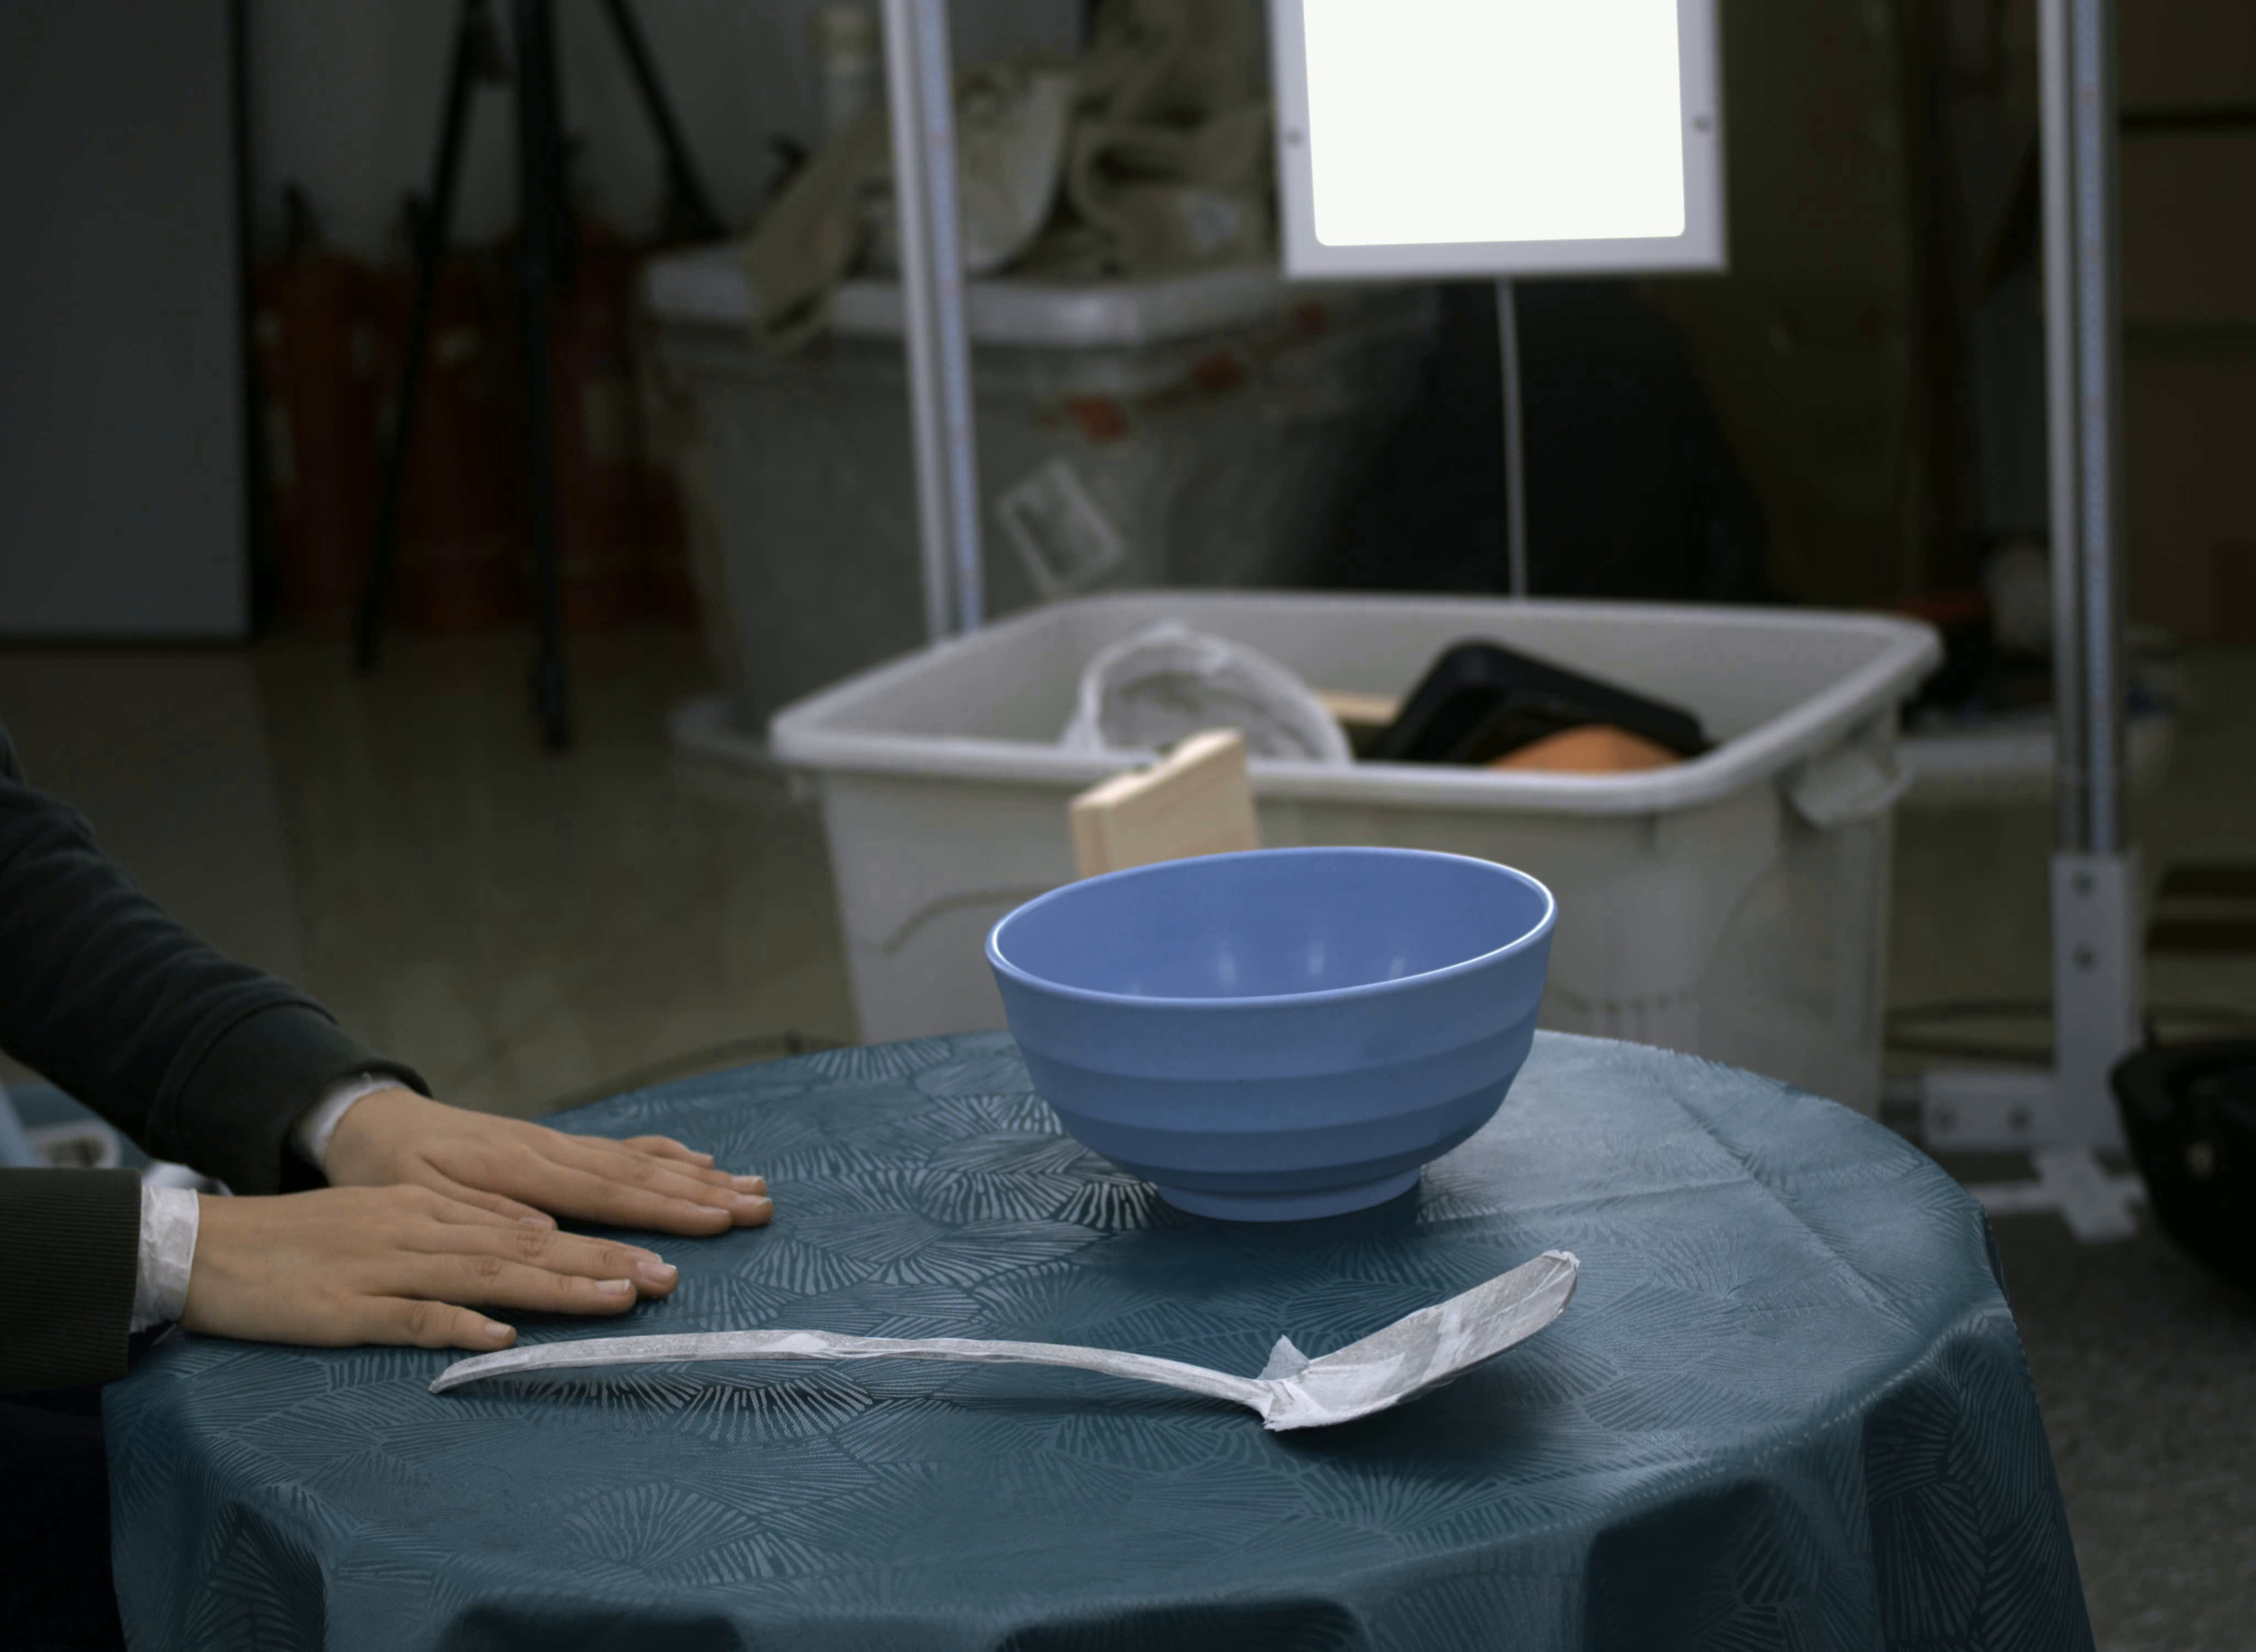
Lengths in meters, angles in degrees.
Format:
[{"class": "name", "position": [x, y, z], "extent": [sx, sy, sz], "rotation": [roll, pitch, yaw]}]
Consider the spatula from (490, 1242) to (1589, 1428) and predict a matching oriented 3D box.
[{"class": "spatula", "position": [-0.037, 0.157, 1.703], "extent": [0.369, 0.045, 0.097], "rotation": [0, 16, 20]}]

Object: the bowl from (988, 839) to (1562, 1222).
[{"class": "bowl", "position": [0.053, 0.076, 1.883], "extent": [0.196, 0.096, 0.196], "rotation": [-4, 15, 0]}]
